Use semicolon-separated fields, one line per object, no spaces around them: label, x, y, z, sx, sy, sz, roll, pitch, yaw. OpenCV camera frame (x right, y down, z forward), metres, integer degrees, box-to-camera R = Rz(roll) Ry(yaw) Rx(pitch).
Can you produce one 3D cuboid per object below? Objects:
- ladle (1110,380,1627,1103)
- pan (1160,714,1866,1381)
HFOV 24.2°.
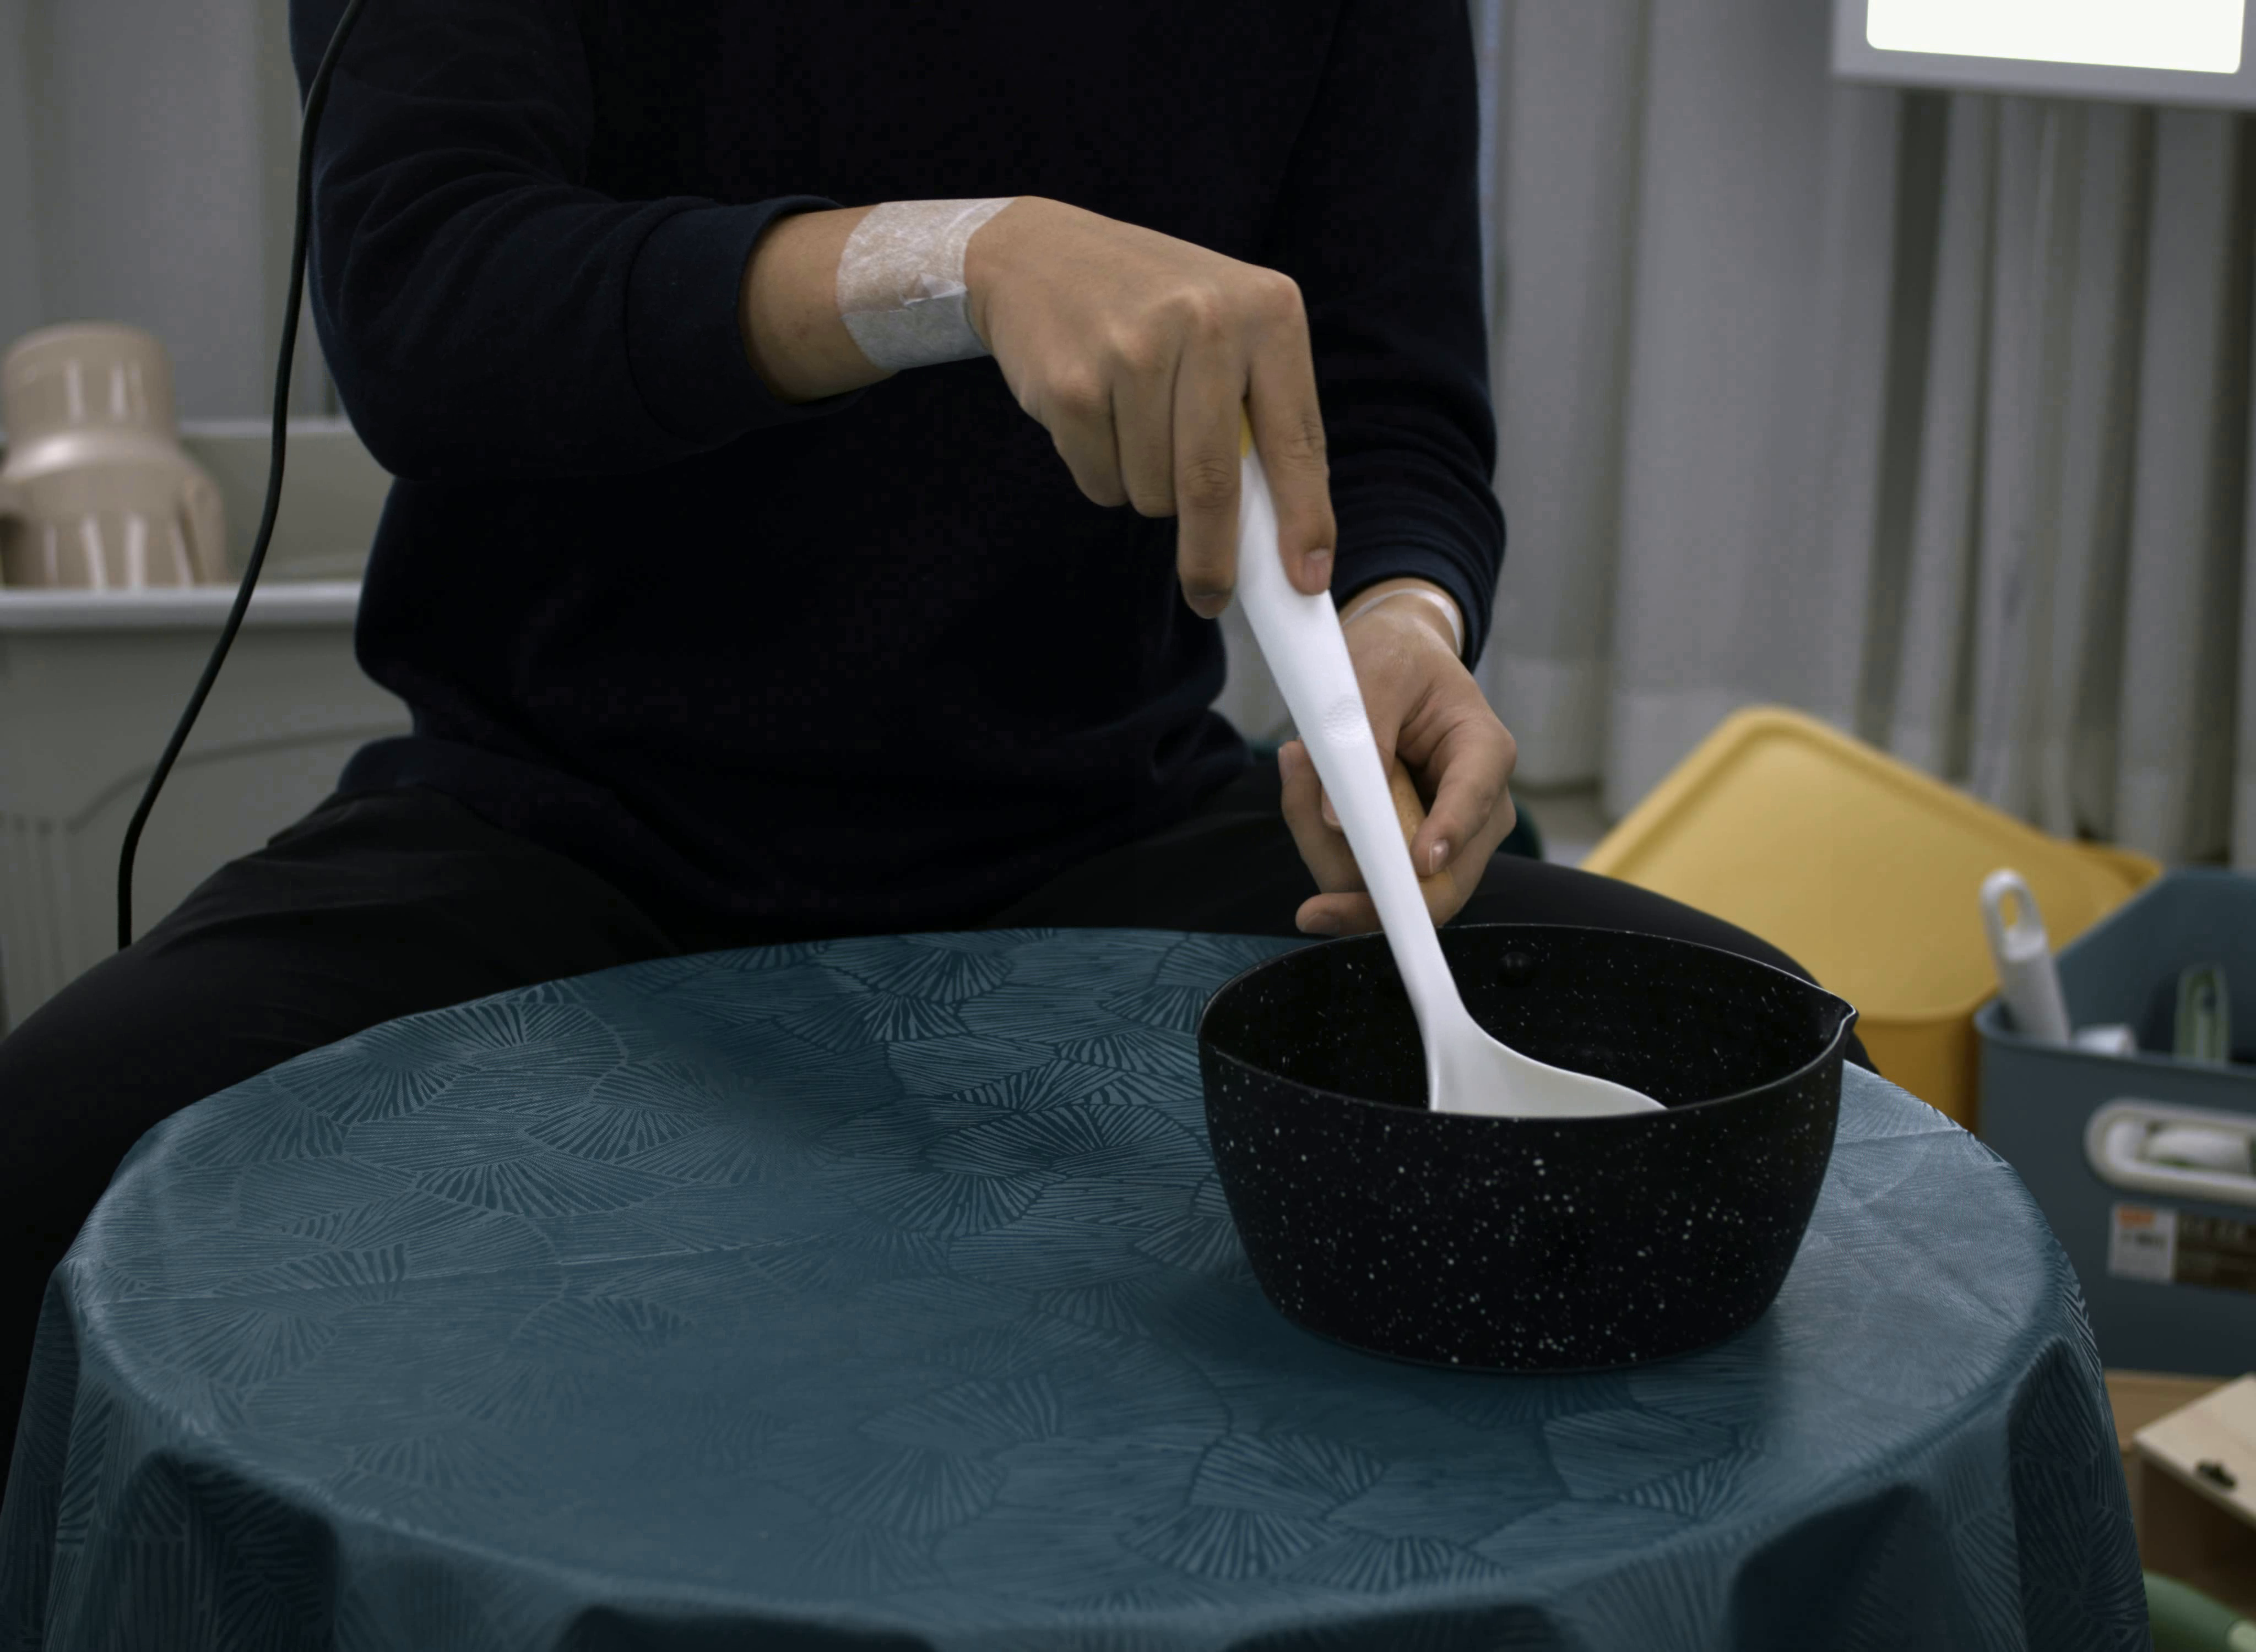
ladle;0.071;0.001;1.554;0.090;0.293;0.070;-22;-4;-19
pan;0.100;0.062;1.605;0.207;0.109;0.340;-3;17;-10
